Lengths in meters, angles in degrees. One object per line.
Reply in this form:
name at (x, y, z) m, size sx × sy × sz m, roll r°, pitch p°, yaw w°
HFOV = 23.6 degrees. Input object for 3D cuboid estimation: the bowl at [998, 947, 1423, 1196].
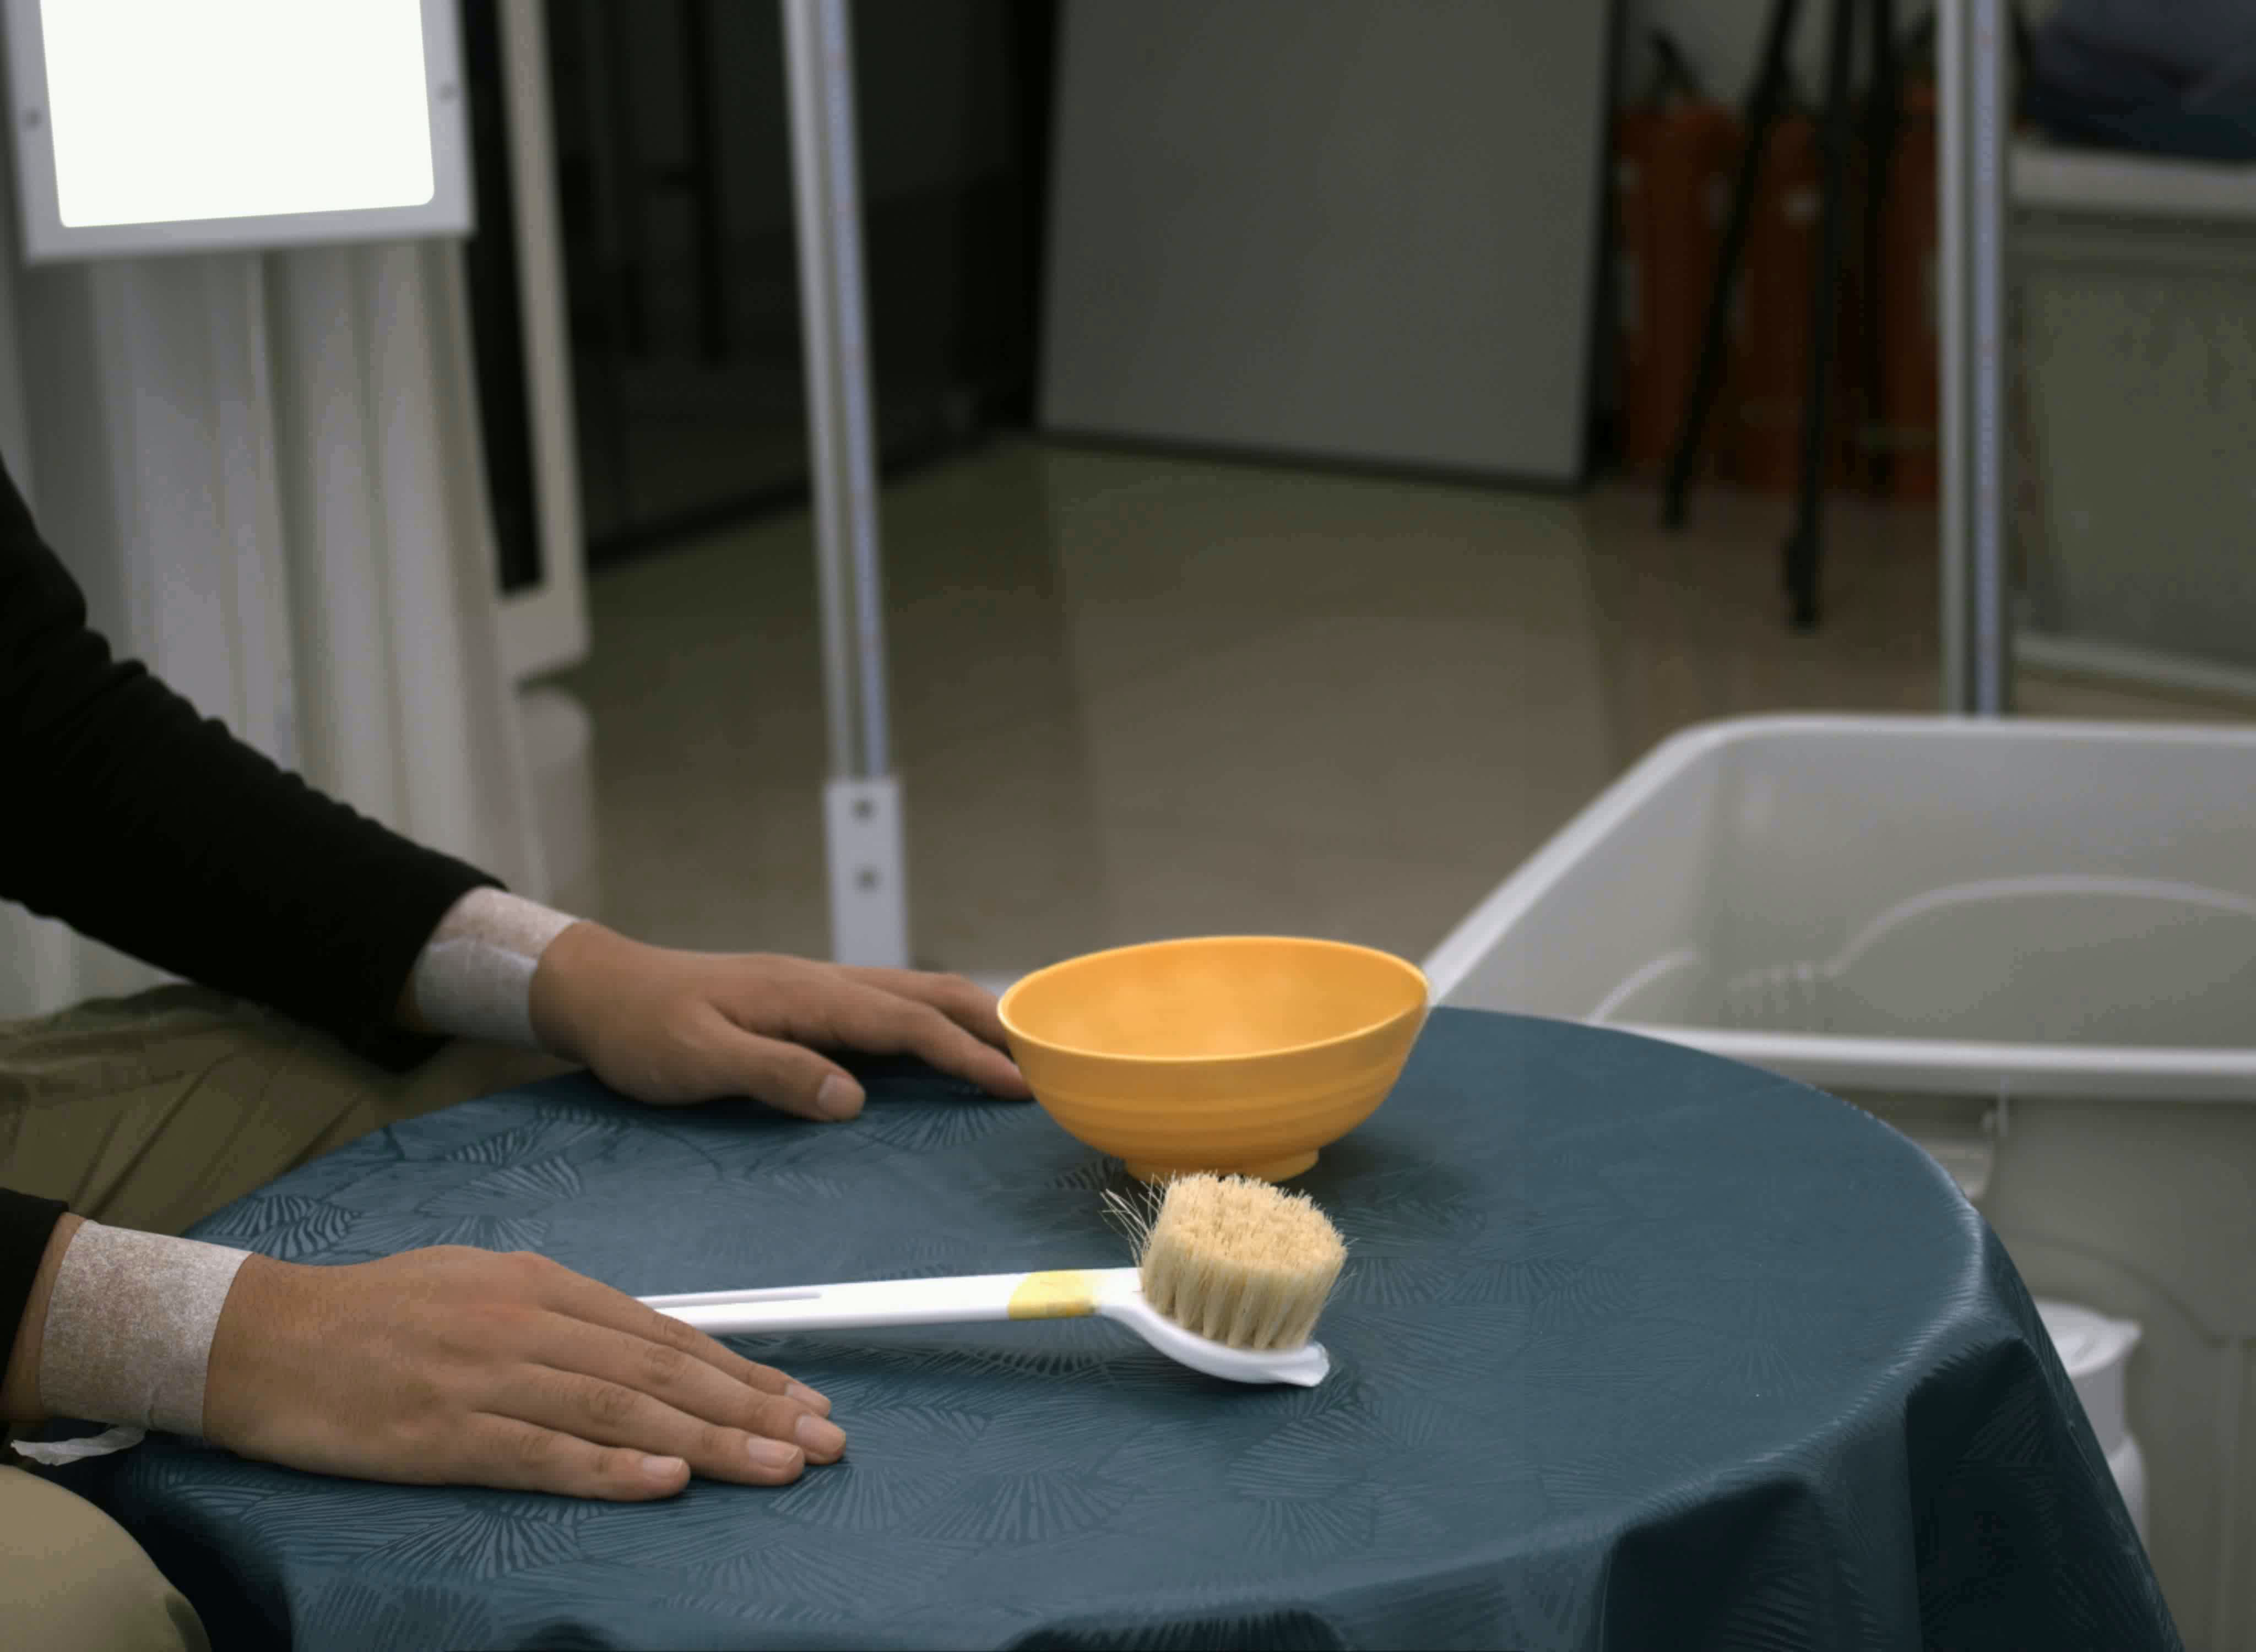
bowl at (0.029, 0.085, 1.787) m, size 0.143 × 0.061 × 0.145 m, roll -5°, pitch 12°, yaw 0°

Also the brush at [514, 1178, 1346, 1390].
brush at (-0.064, 0.136, 1.617) m, size 0.266 × 0.057 × 0.068 m, roll 0°, pitch 9°, yaw 19°
